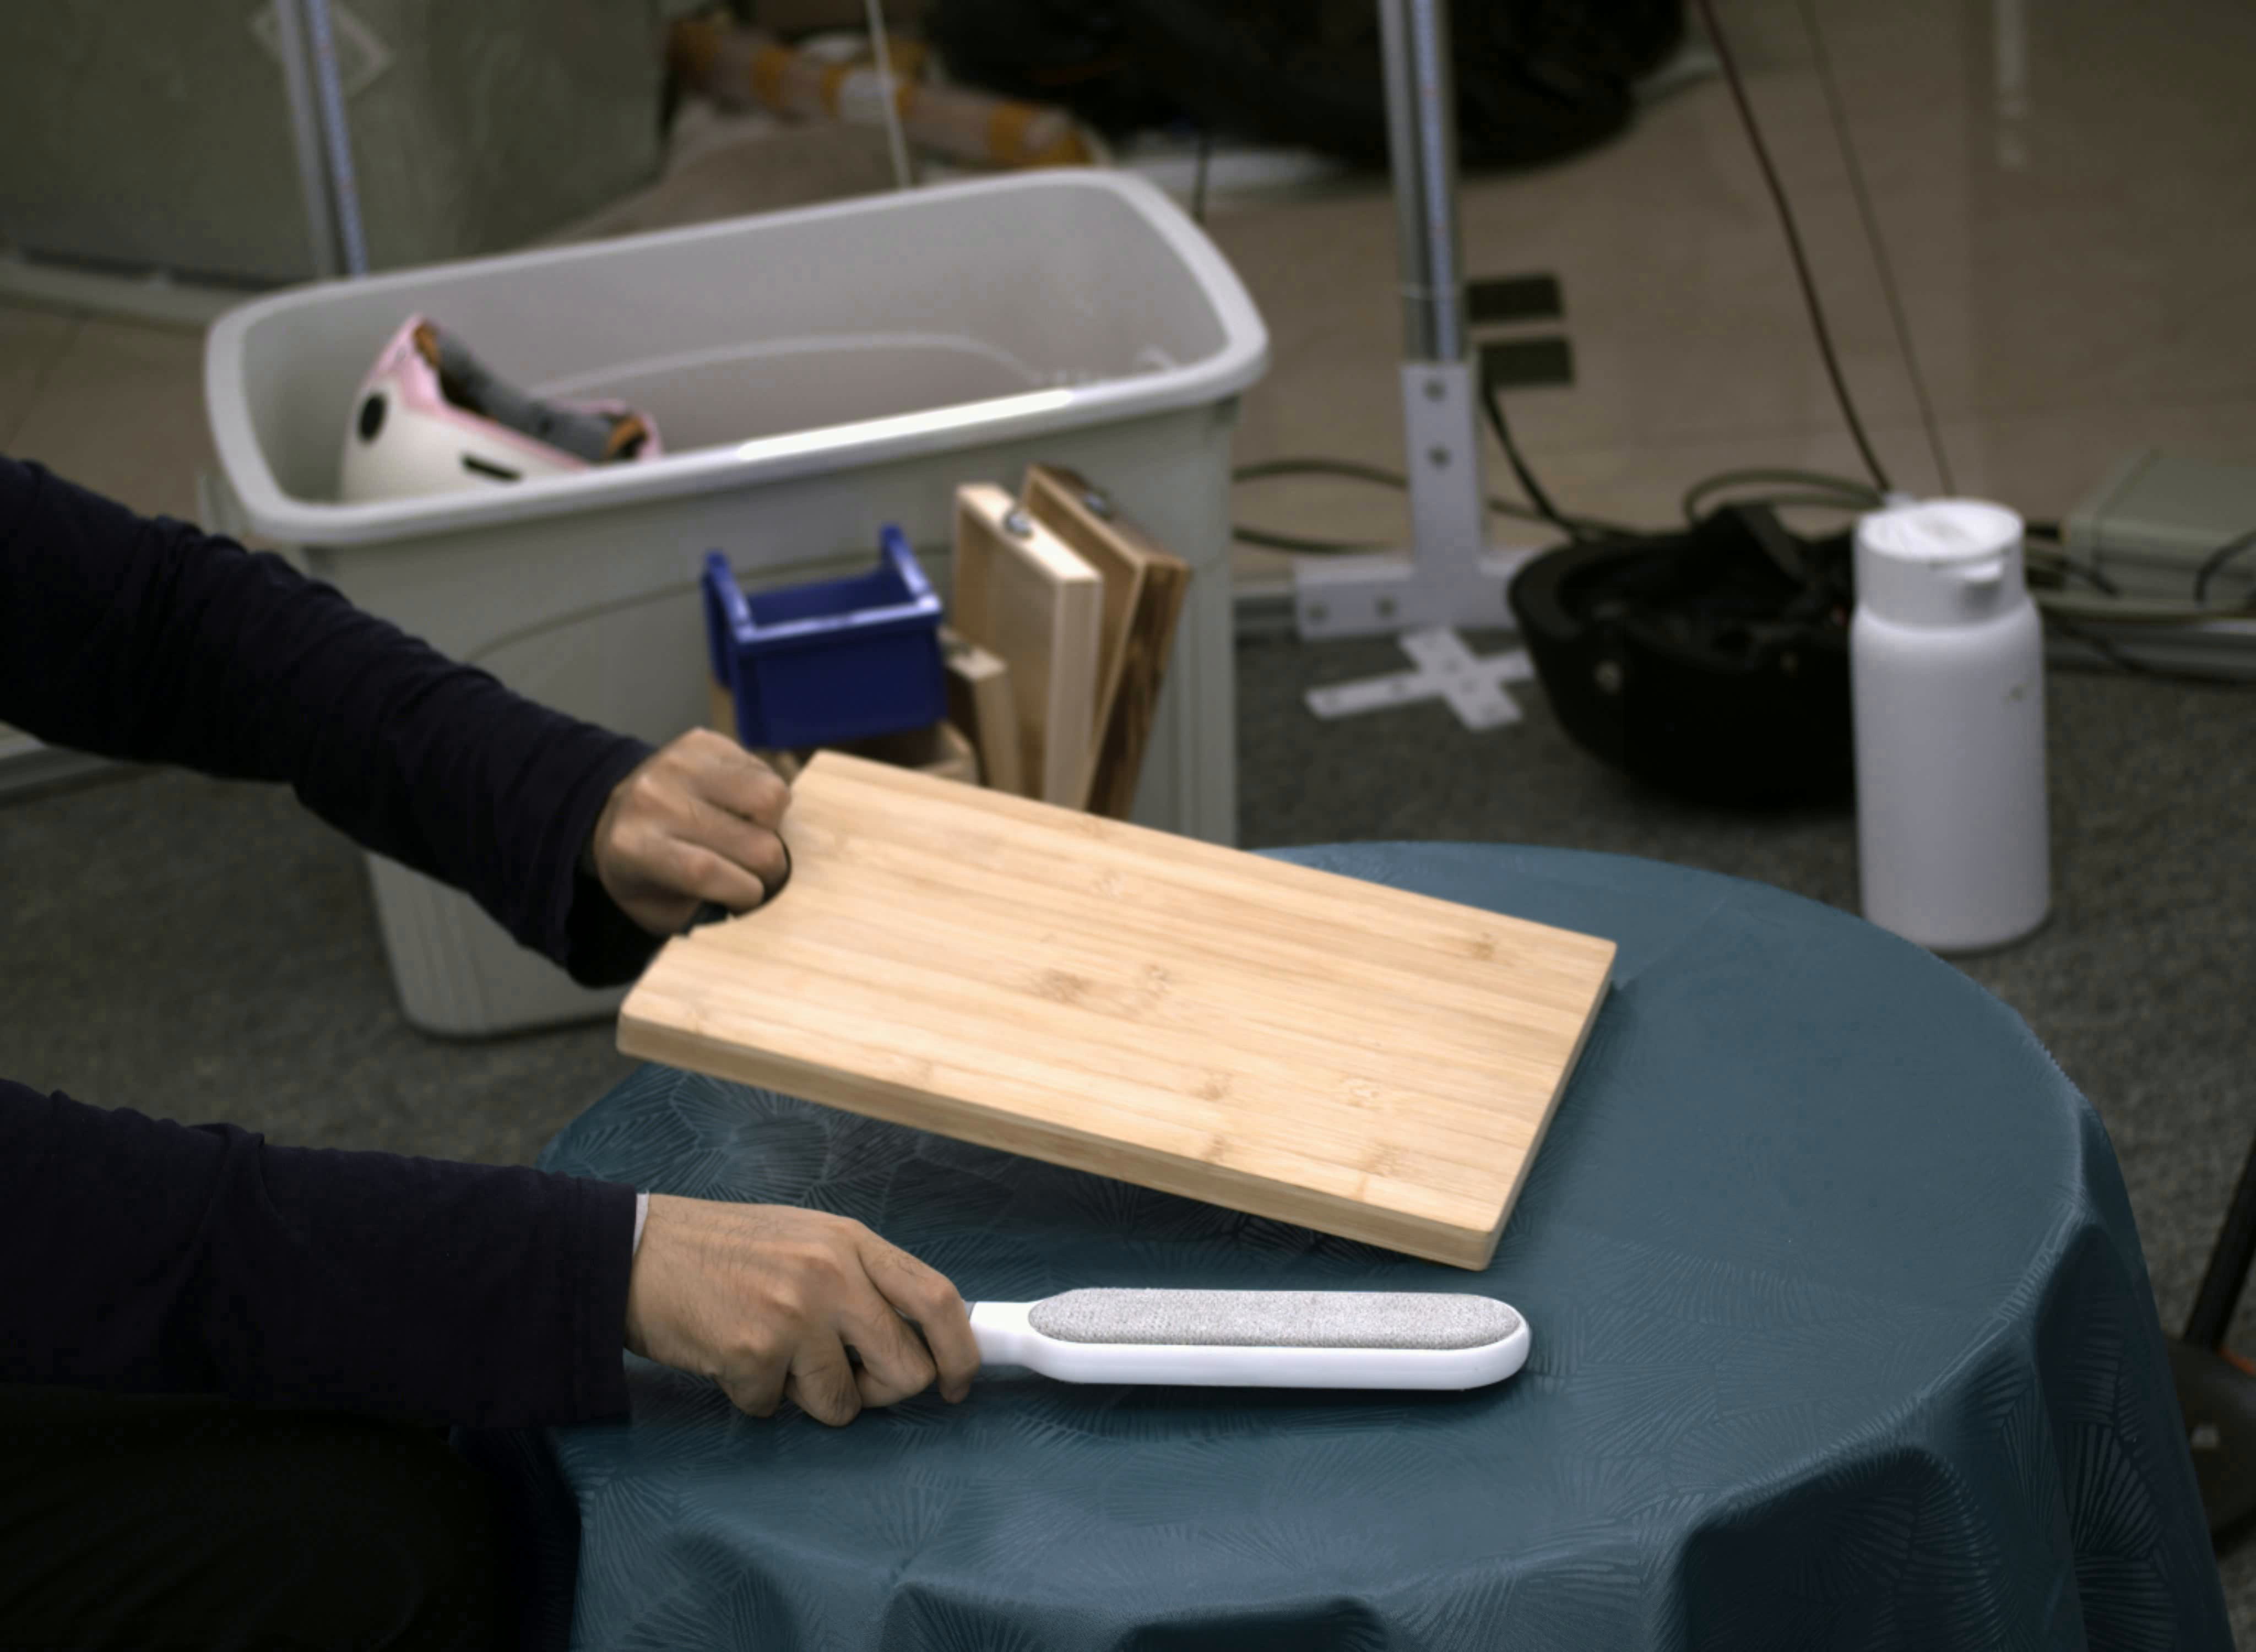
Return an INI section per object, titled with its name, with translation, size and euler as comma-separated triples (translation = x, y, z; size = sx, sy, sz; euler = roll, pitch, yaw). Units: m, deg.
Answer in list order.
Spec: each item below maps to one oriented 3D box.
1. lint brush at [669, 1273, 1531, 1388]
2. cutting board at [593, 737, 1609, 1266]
[lint brush]
translation = -0.012, 0.177, 2.017
size = 0.308, 0.021, 0.059
euler = 1, 23, 7
[cutting board]
translation = -0.005, 0.063, 2.197
size = 0.347, 0.024, 0.247
euler = 14, 28, 10
